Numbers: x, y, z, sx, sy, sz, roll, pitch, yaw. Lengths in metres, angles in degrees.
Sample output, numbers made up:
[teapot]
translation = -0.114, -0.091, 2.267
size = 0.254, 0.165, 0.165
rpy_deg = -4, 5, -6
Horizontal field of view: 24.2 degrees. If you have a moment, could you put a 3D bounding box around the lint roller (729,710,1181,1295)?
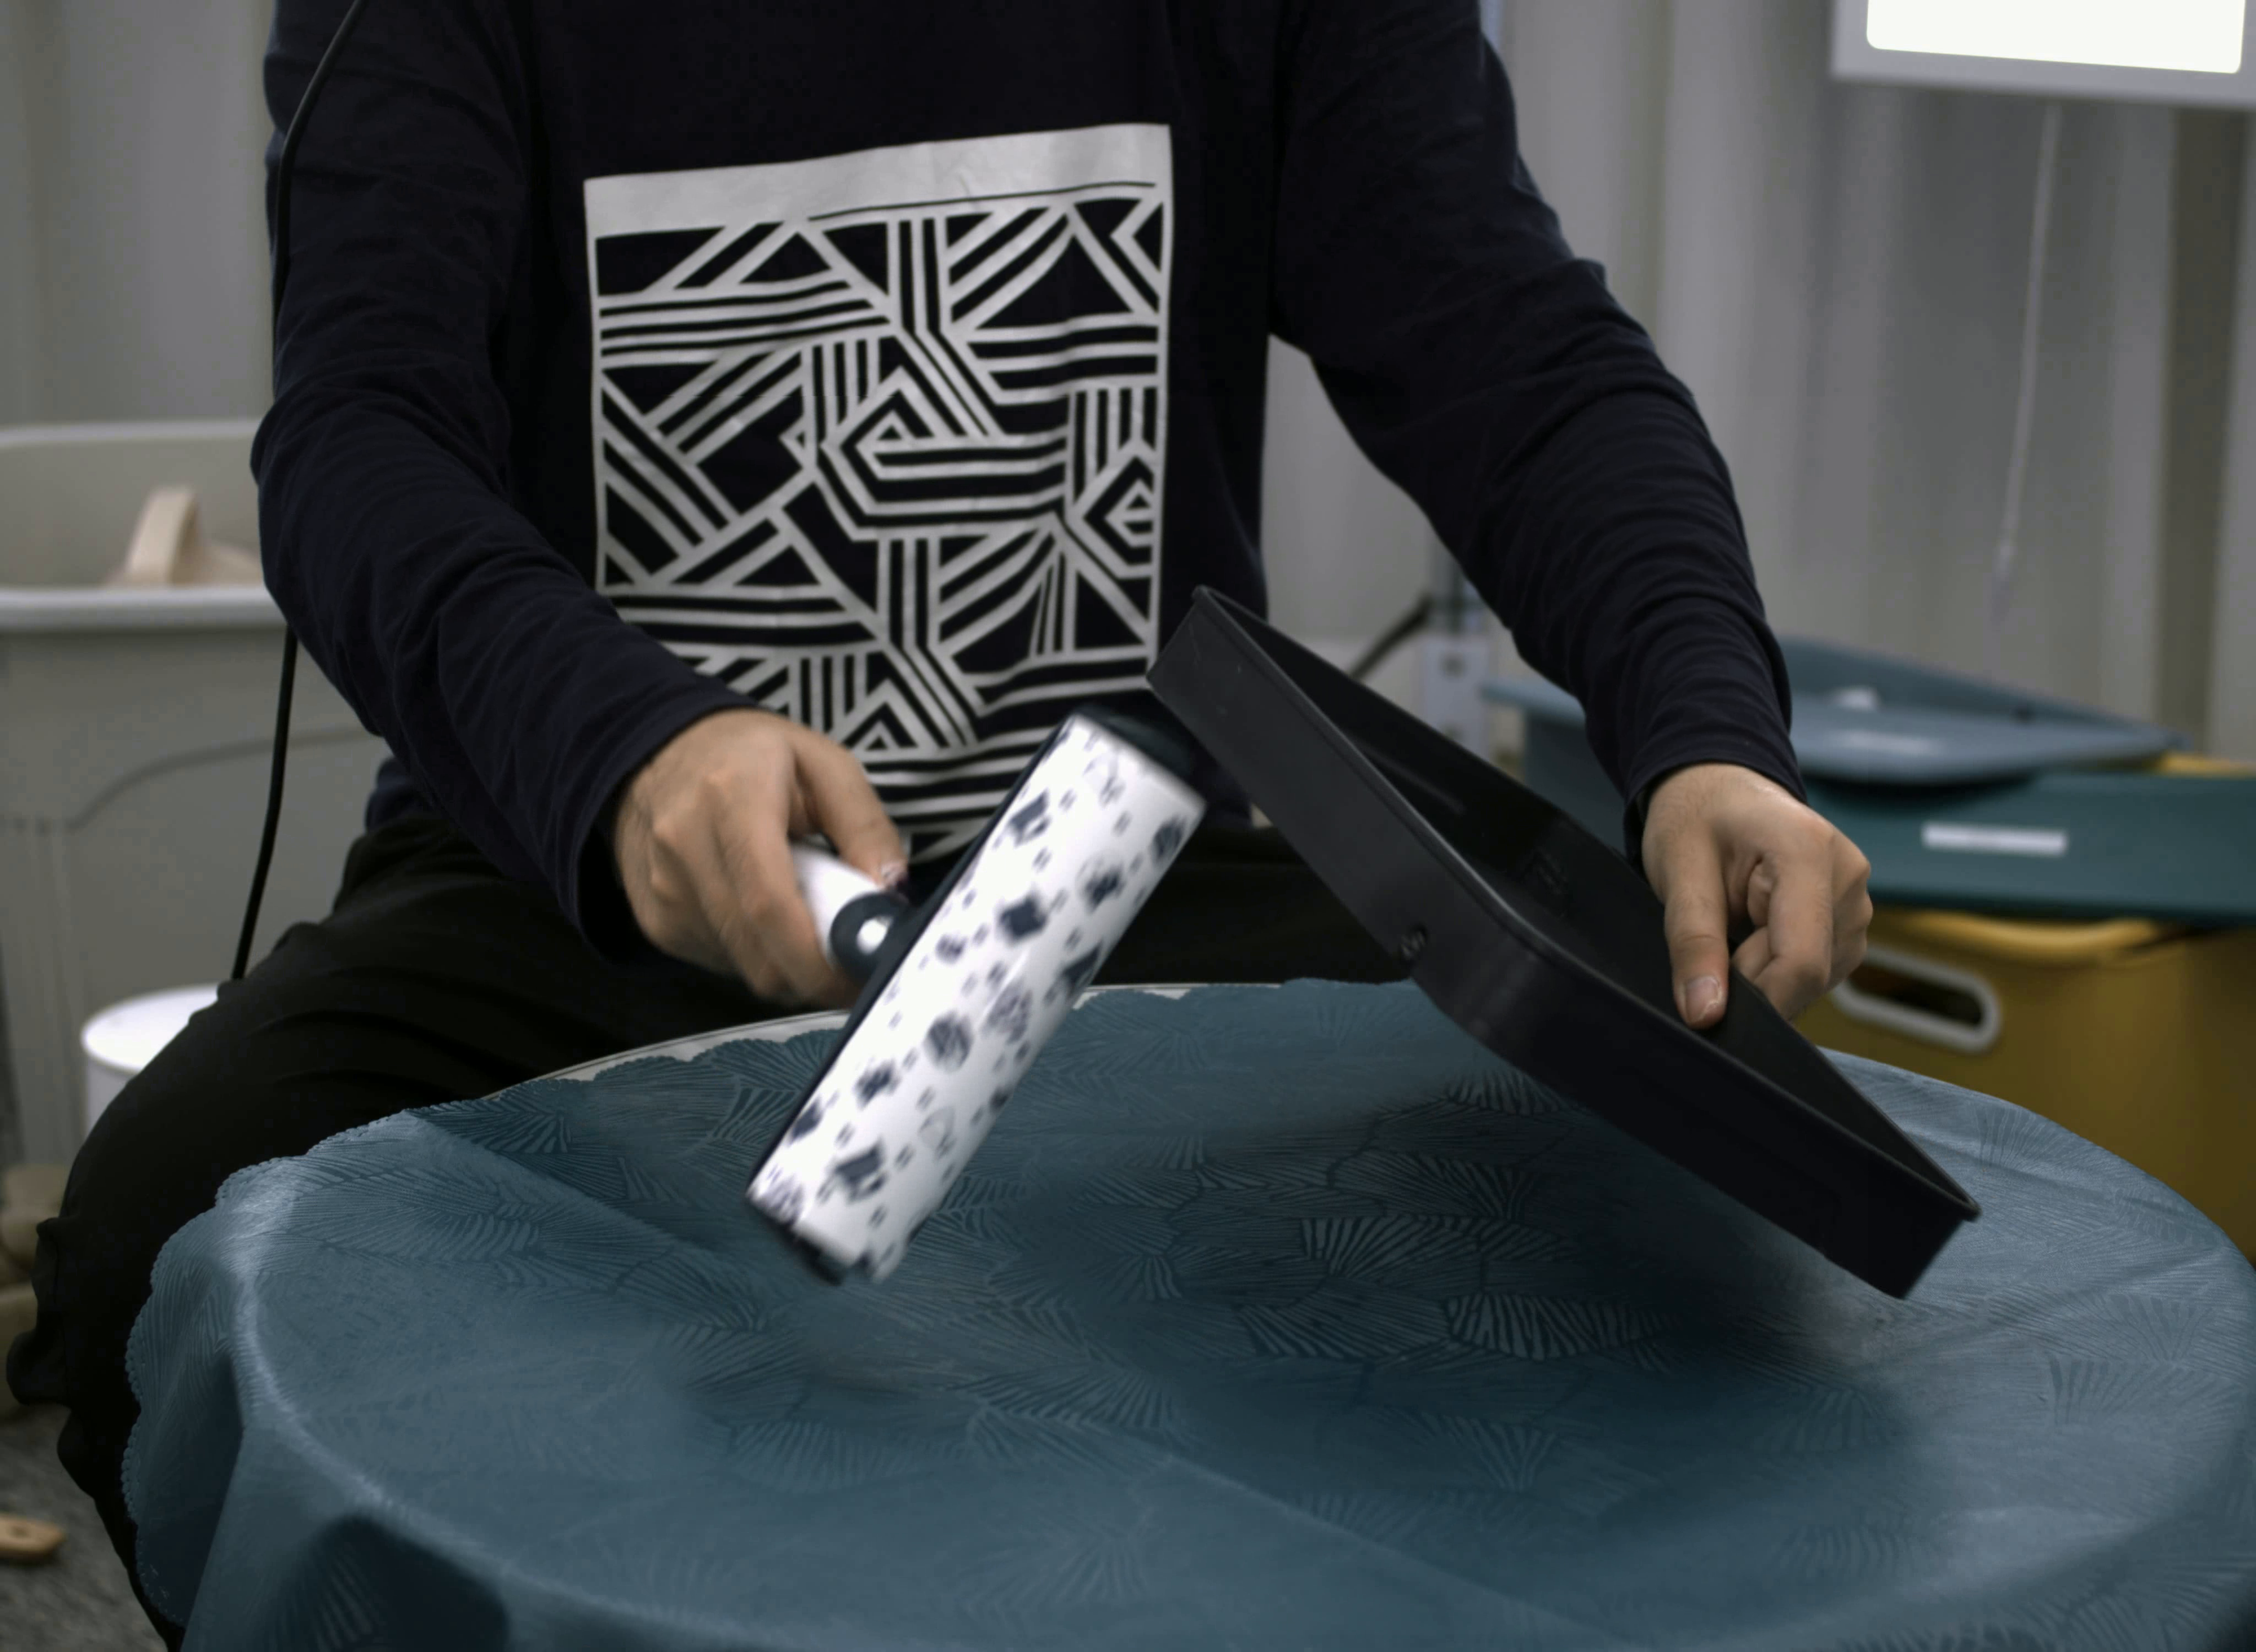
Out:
[lint roller]
translation = -0.082, 0.033, 1.549
size = 0.051, 0.176, 0.244
rpy_deg = 34, -3, -24

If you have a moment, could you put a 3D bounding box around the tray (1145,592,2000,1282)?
[tray]
translation = 0.124, 0.028, 1.576
size = 0.186, 0.037, 0.314
rpy_deg = 31, 7, -26
